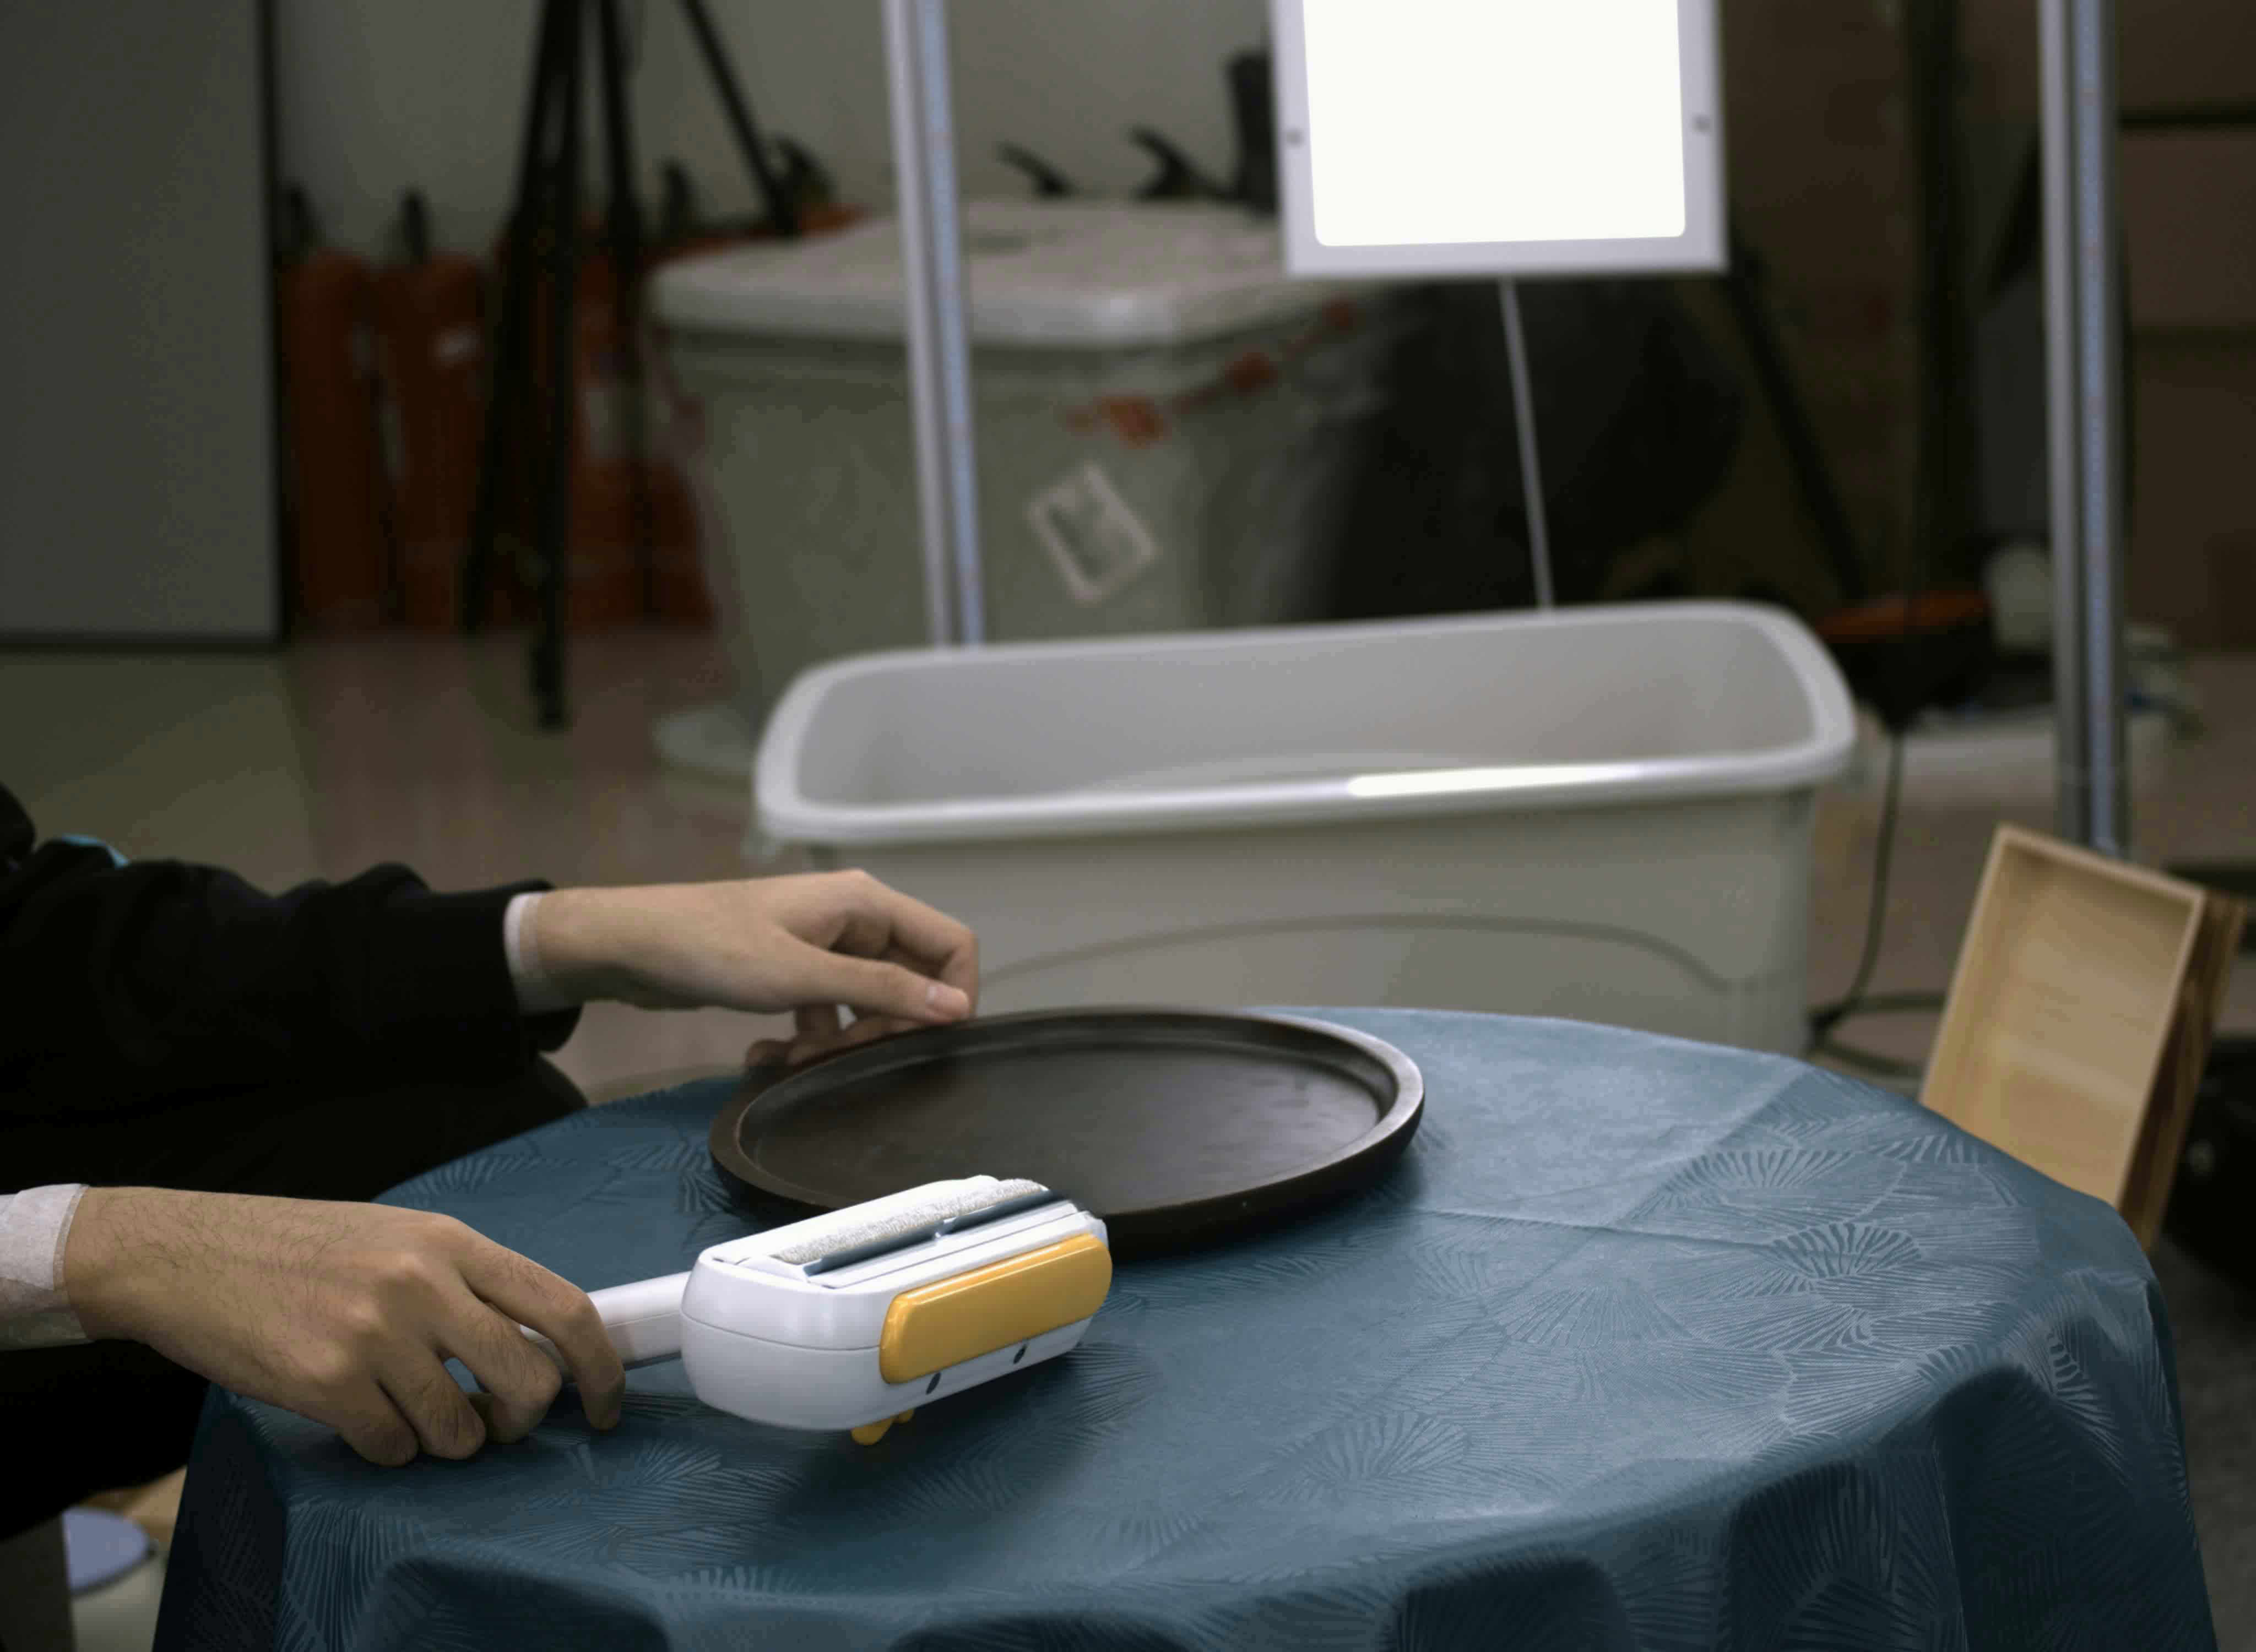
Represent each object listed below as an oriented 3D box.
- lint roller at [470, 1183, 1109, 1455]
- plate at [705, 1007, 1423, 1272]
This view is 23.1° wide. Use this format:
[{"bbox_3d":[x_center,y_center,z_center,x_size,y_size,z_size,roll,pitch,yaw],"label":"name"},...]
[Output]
[{"bbox_3d":[-0.122,0.150,1.702,0.196,0.074,0.188,1,10,31],"label":"lint roller"},{"bbox_3d":[-0.021,0.109,1.929,0.254,0.029,0.254,-6,14,0],"label":"plate"}]
